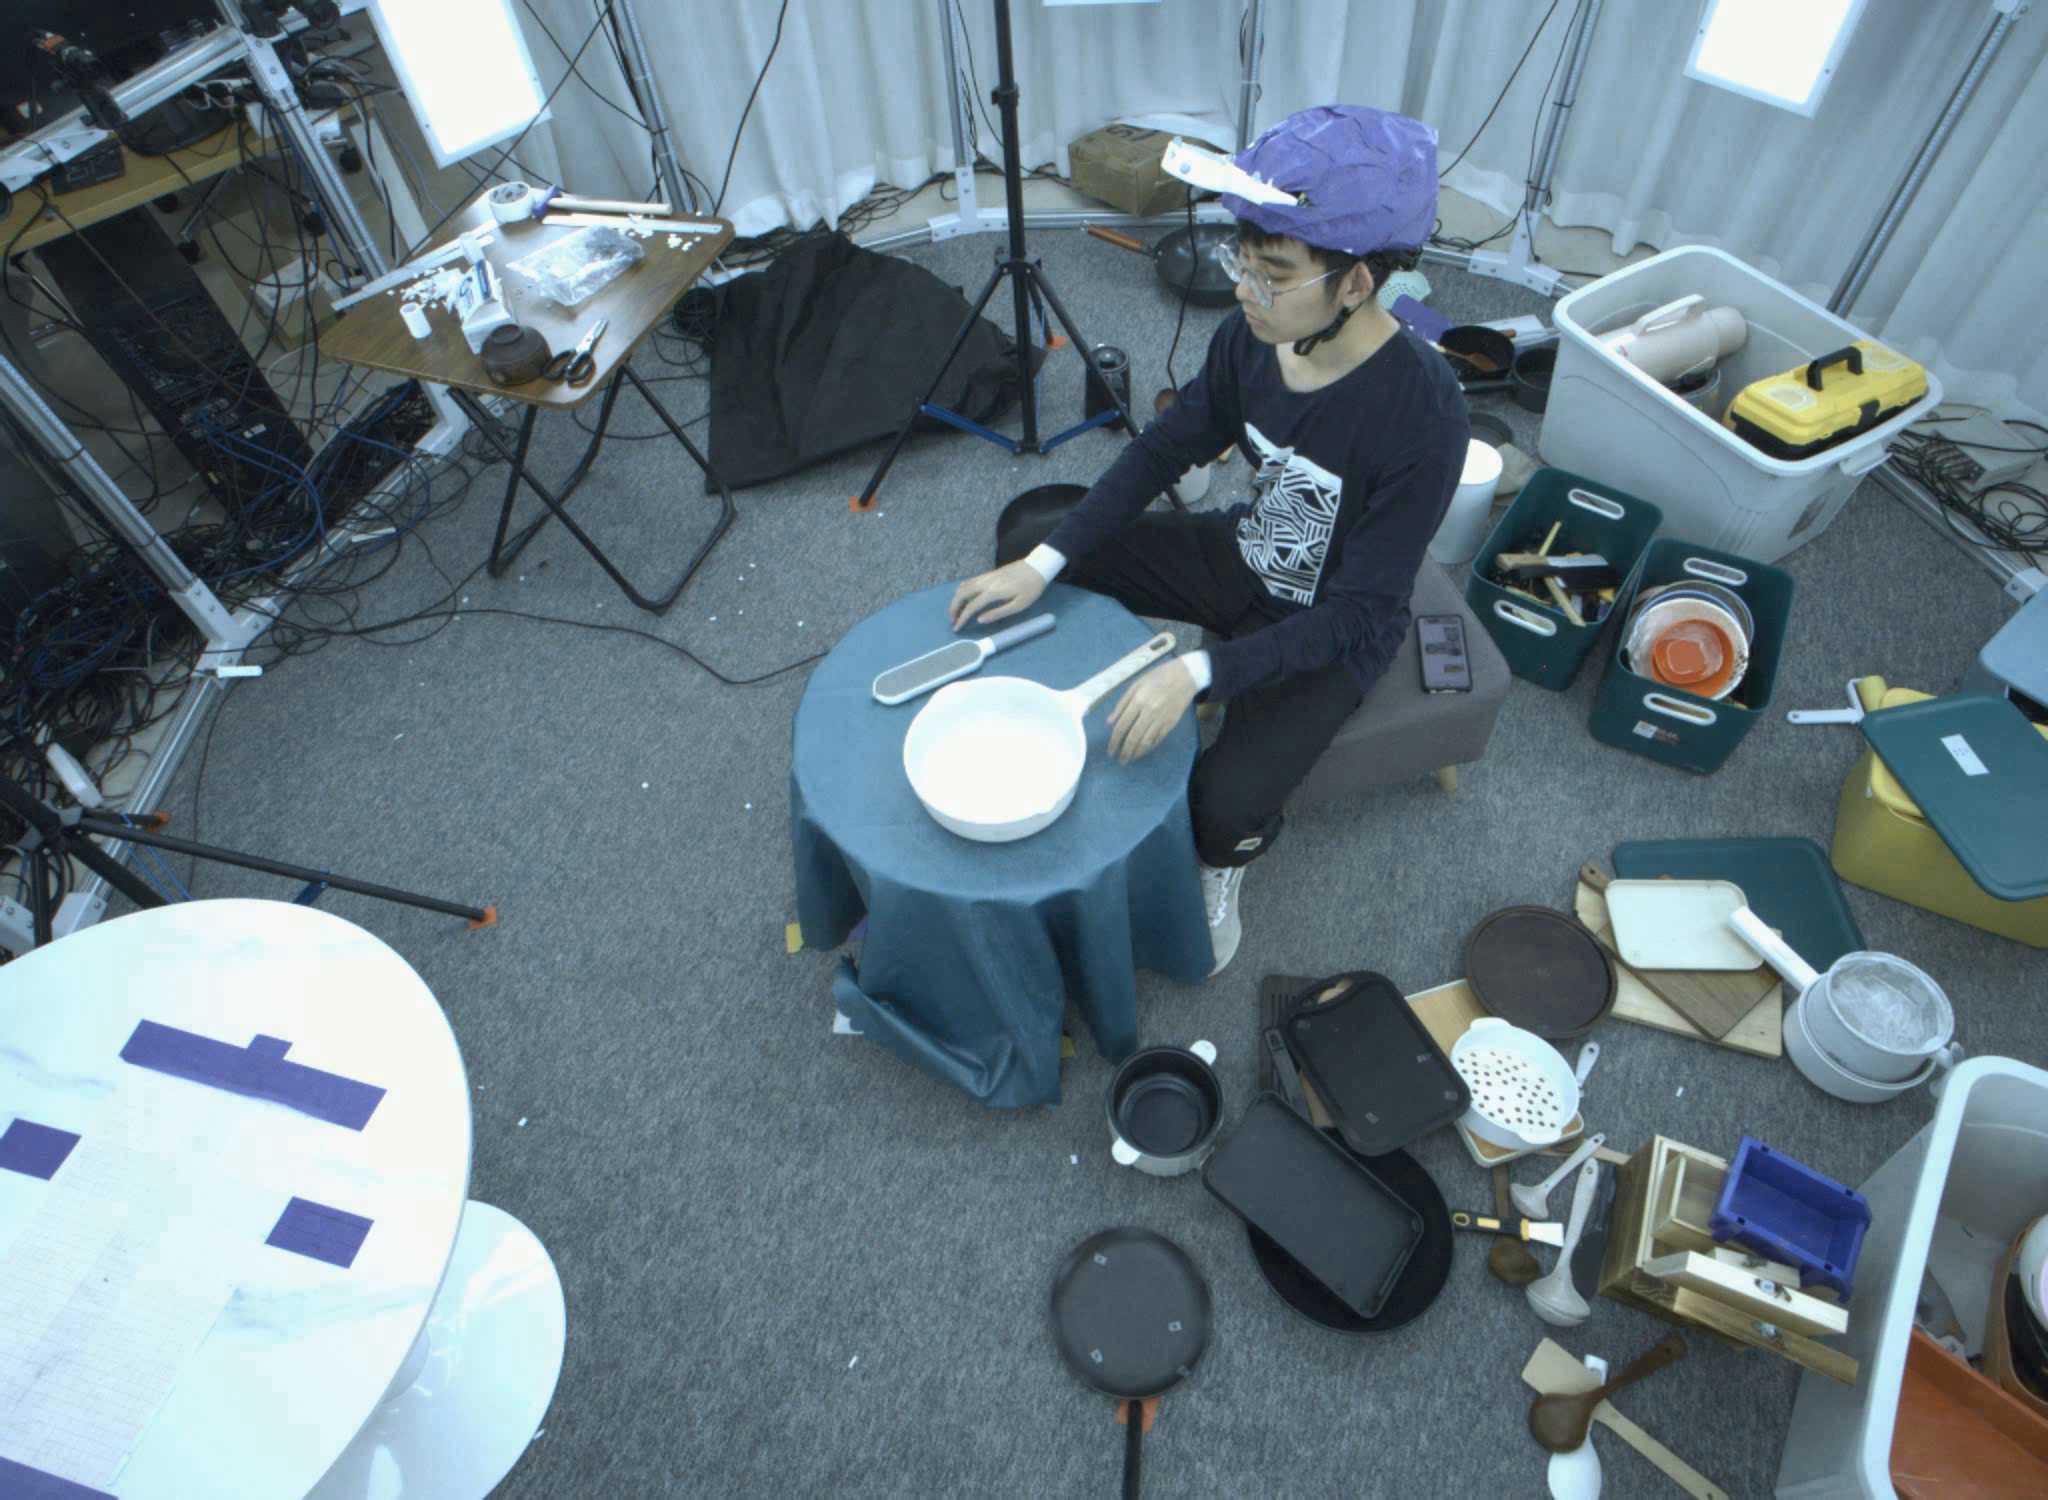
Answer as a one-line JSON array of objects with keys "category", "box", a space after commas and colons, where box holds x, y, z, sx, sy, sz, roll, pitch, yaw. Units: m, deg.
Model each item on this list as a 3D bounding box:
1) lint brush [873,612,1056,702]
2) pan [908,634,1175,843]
[{"category": "lint brush", "box": [-0.089, -0.146, 1.884, 0.311, 0.021, 0.059, -24, 52, -15]}, {"category": "pan", "box": [0.042, -0.027, 1.753, 0.438, 0.103, 0.258, -30, 56, -19]}]
